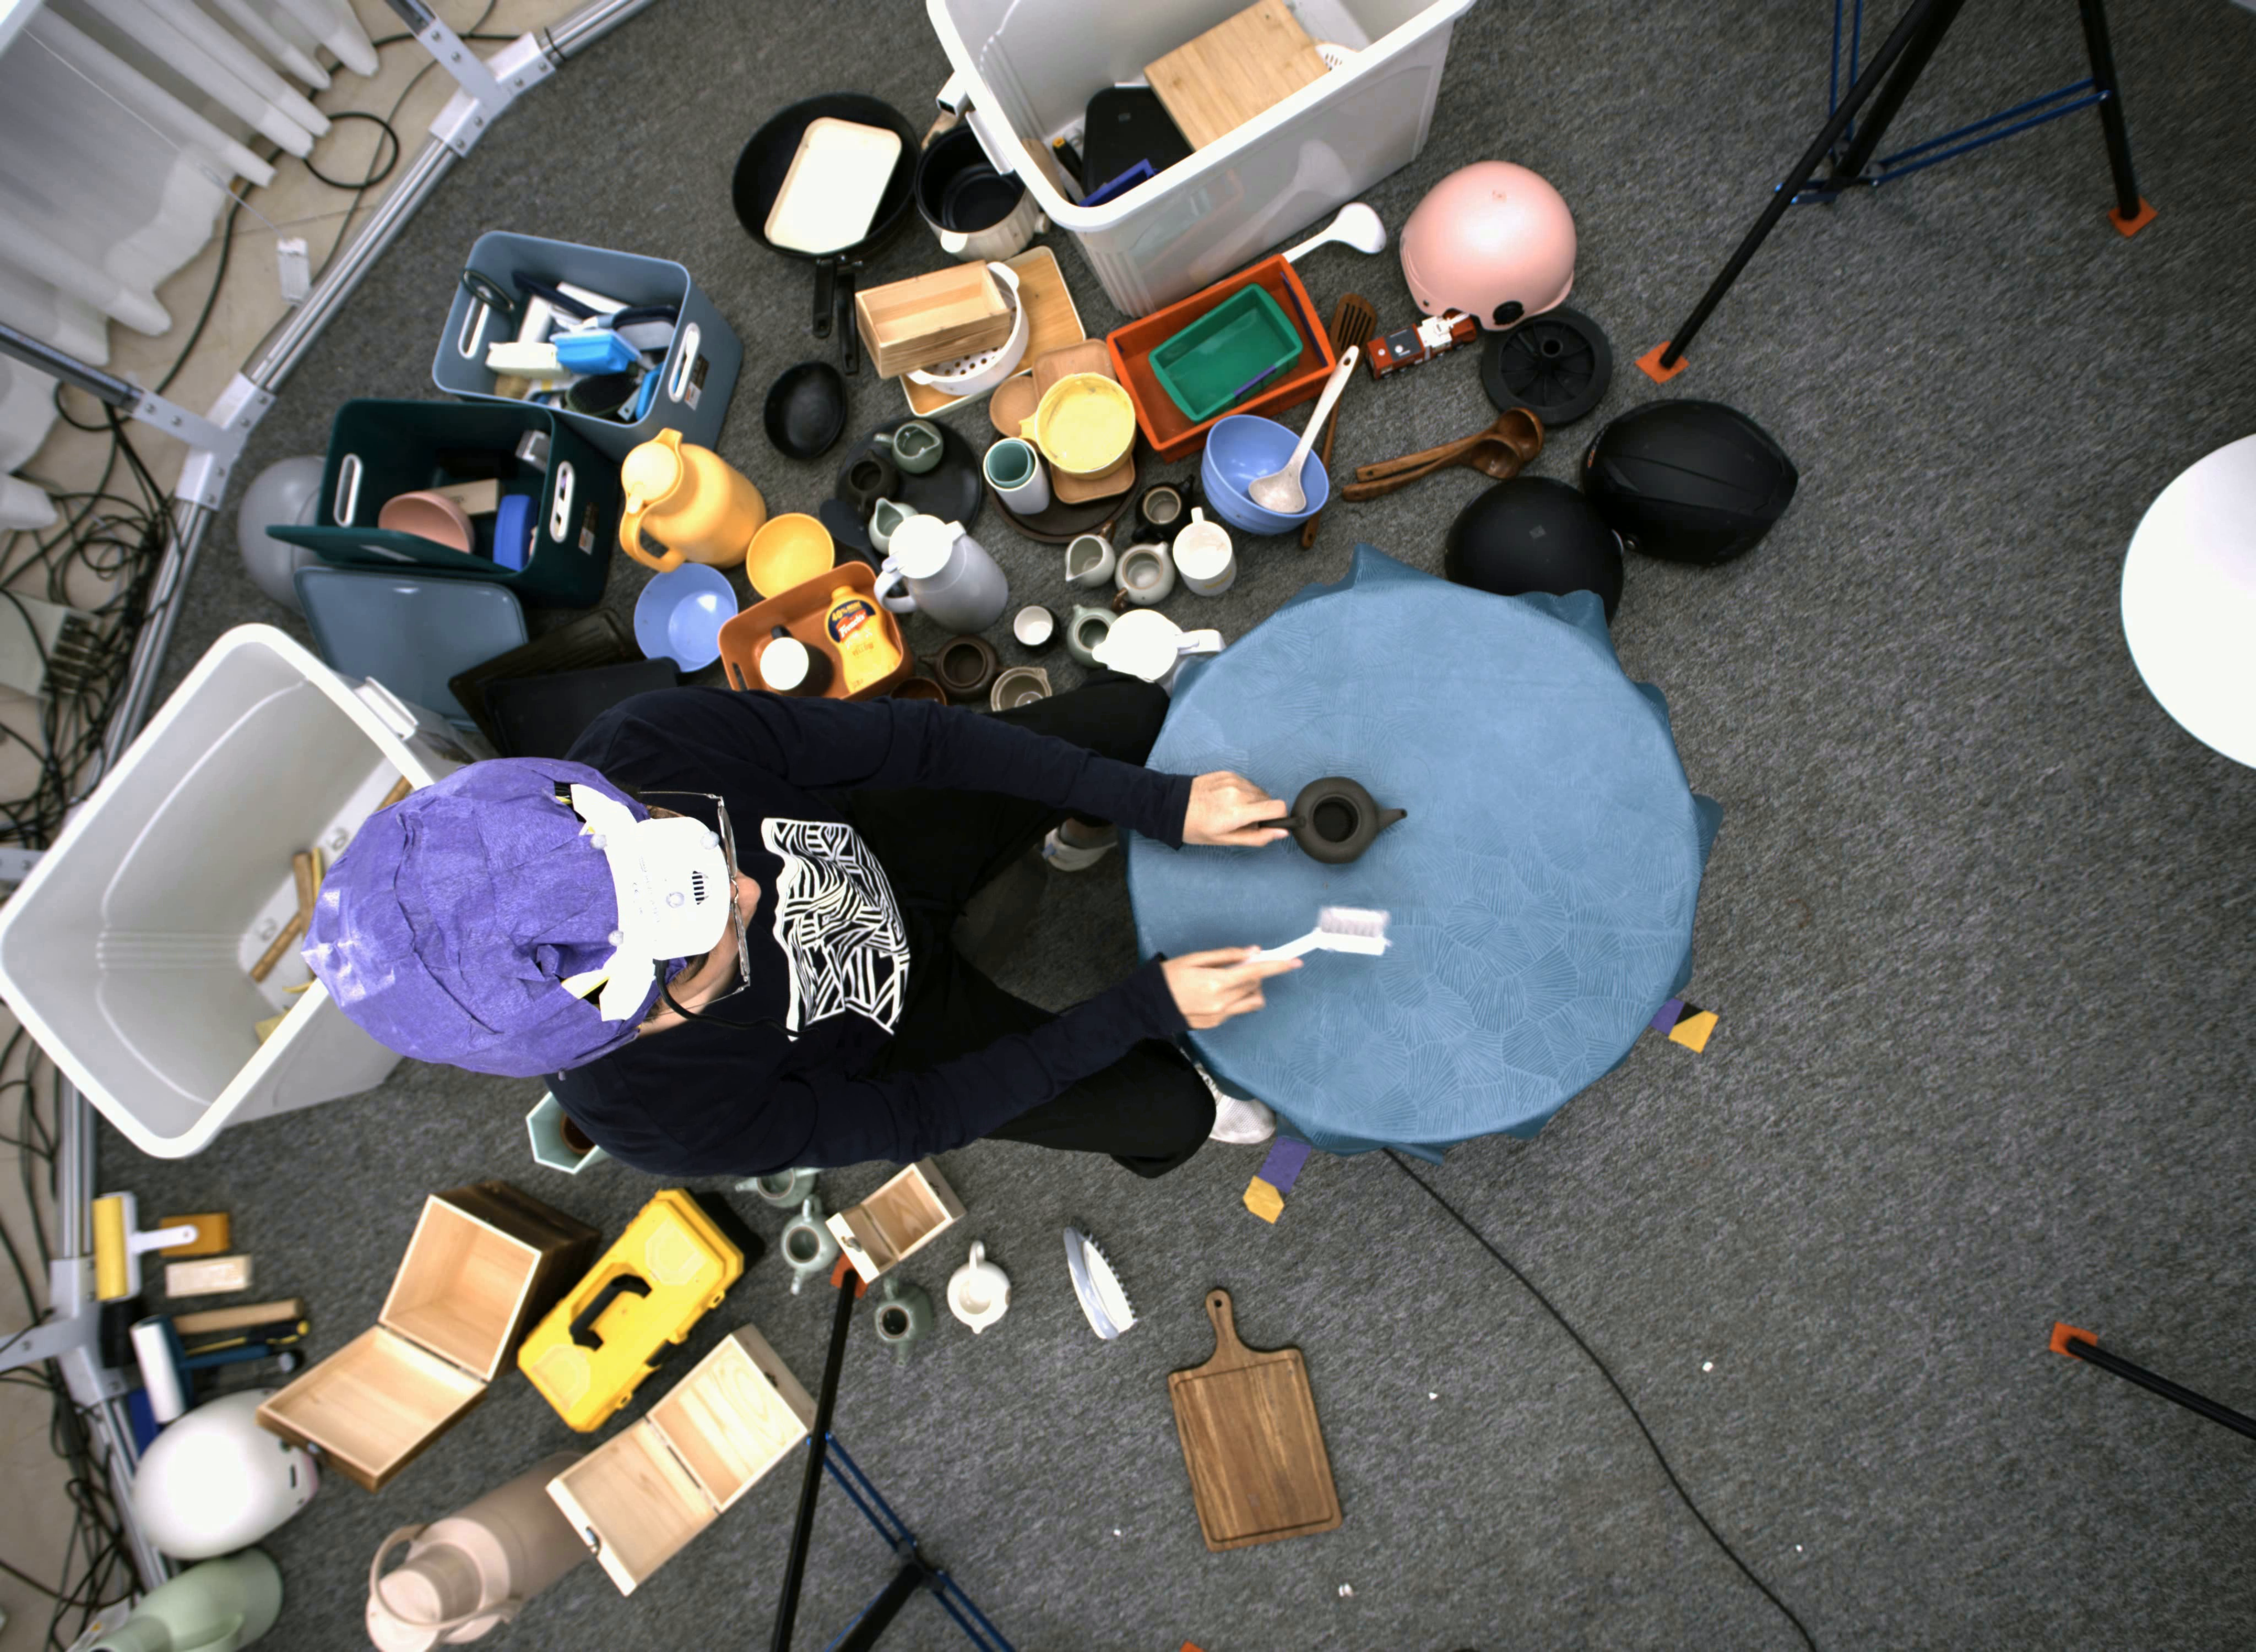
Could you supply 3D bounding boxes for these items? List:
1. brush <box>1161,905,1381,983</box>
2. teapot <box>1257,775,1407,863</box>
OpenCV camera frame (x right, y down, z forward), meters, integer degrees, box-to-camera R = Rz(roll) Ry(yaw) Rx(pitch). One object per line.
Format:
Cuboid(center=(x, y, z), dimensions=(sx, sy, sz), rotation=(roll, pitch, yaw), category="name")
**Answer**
Cuboid(center=(0.141, 0.118, 1.414), dimensions=(0.246, 0.034, 0.050), rotation=(-13, 98, 23), category="brush")
Cuboid(center=(0.211, -0.008, 1.440), dimensions=(0.154, 0.064, 0.092), rotation=(-3, 87, 4), category="teapot")
